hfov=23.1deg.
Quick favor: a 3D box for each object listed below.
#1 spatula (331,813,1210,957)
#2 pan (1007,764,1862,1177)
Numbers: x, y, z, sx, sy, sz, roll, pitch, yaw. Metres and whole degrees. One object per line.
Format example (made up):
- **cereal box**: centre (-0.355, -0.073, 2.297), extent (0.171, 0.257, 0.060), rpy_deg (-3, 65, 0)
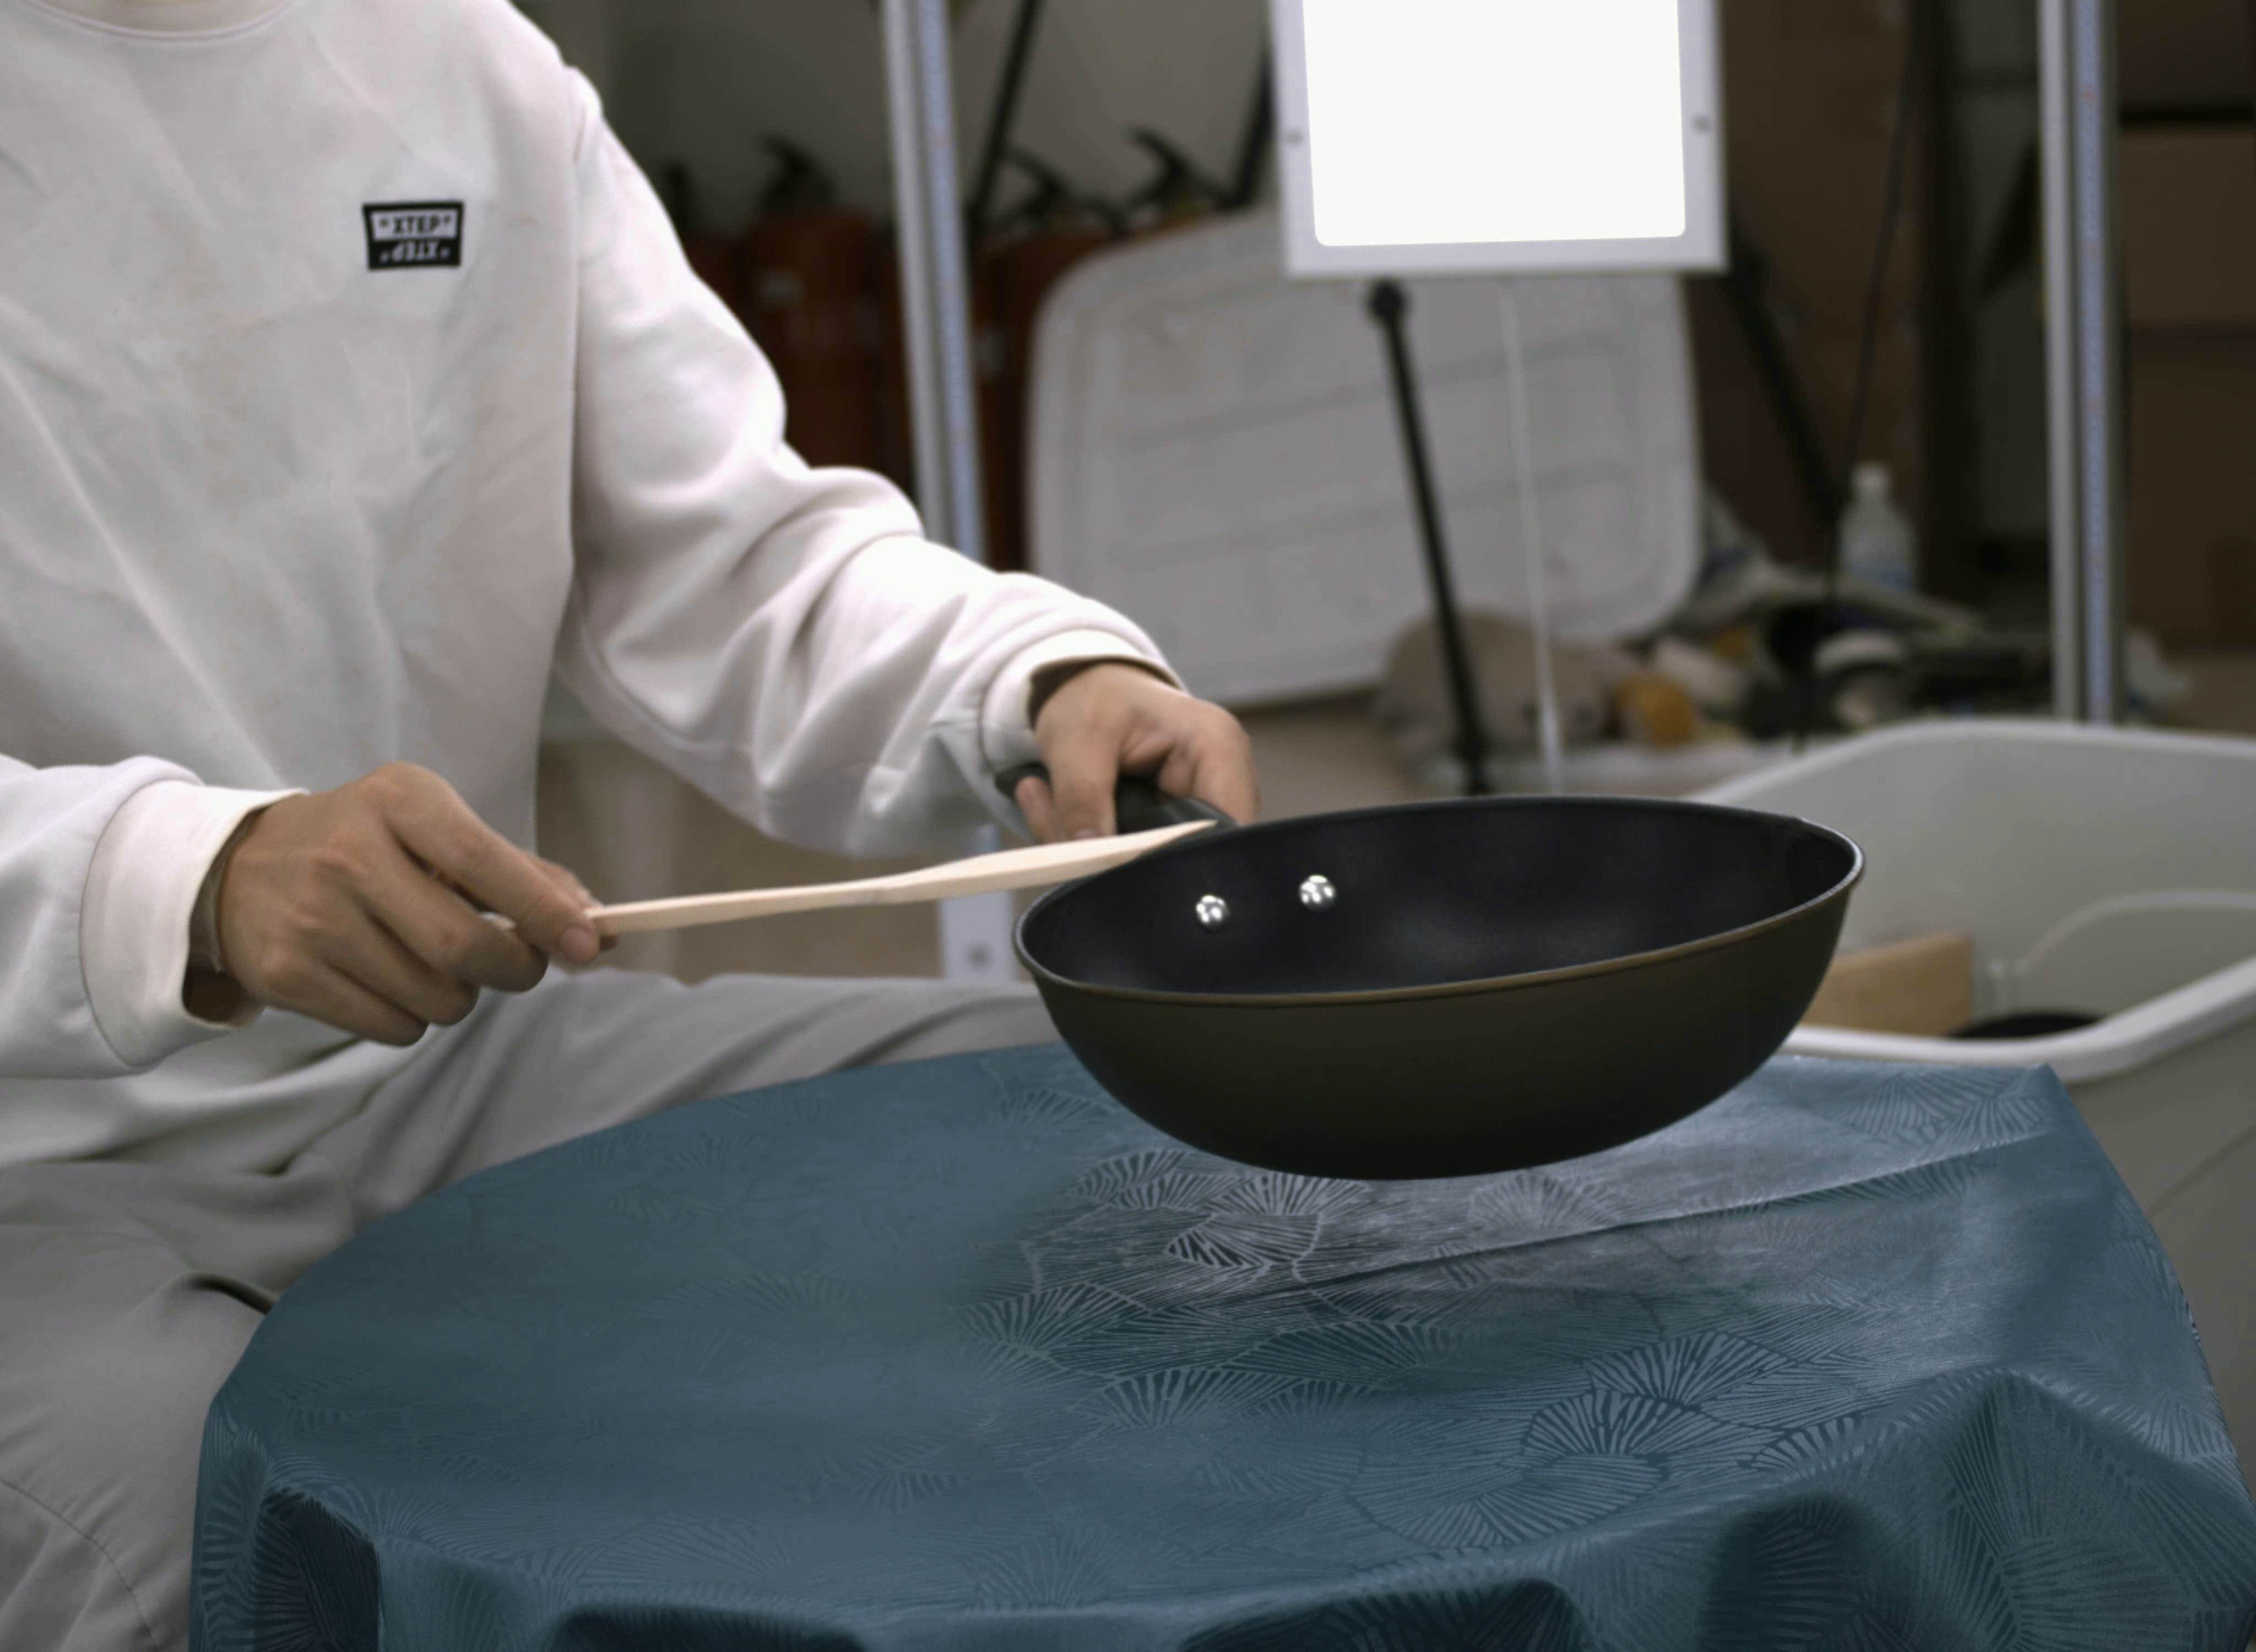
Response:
- **spatula**: centre (-0.118, 0.021, 1.710), extent (0.298, 0.011, 0.071), rpy_deg (-7, 5, 24)
- **pan**: centre (0.064, 0.045, 1.893), extent (0.282, 0.087, 0.471), rpy_deg (-11, 12, -23)
